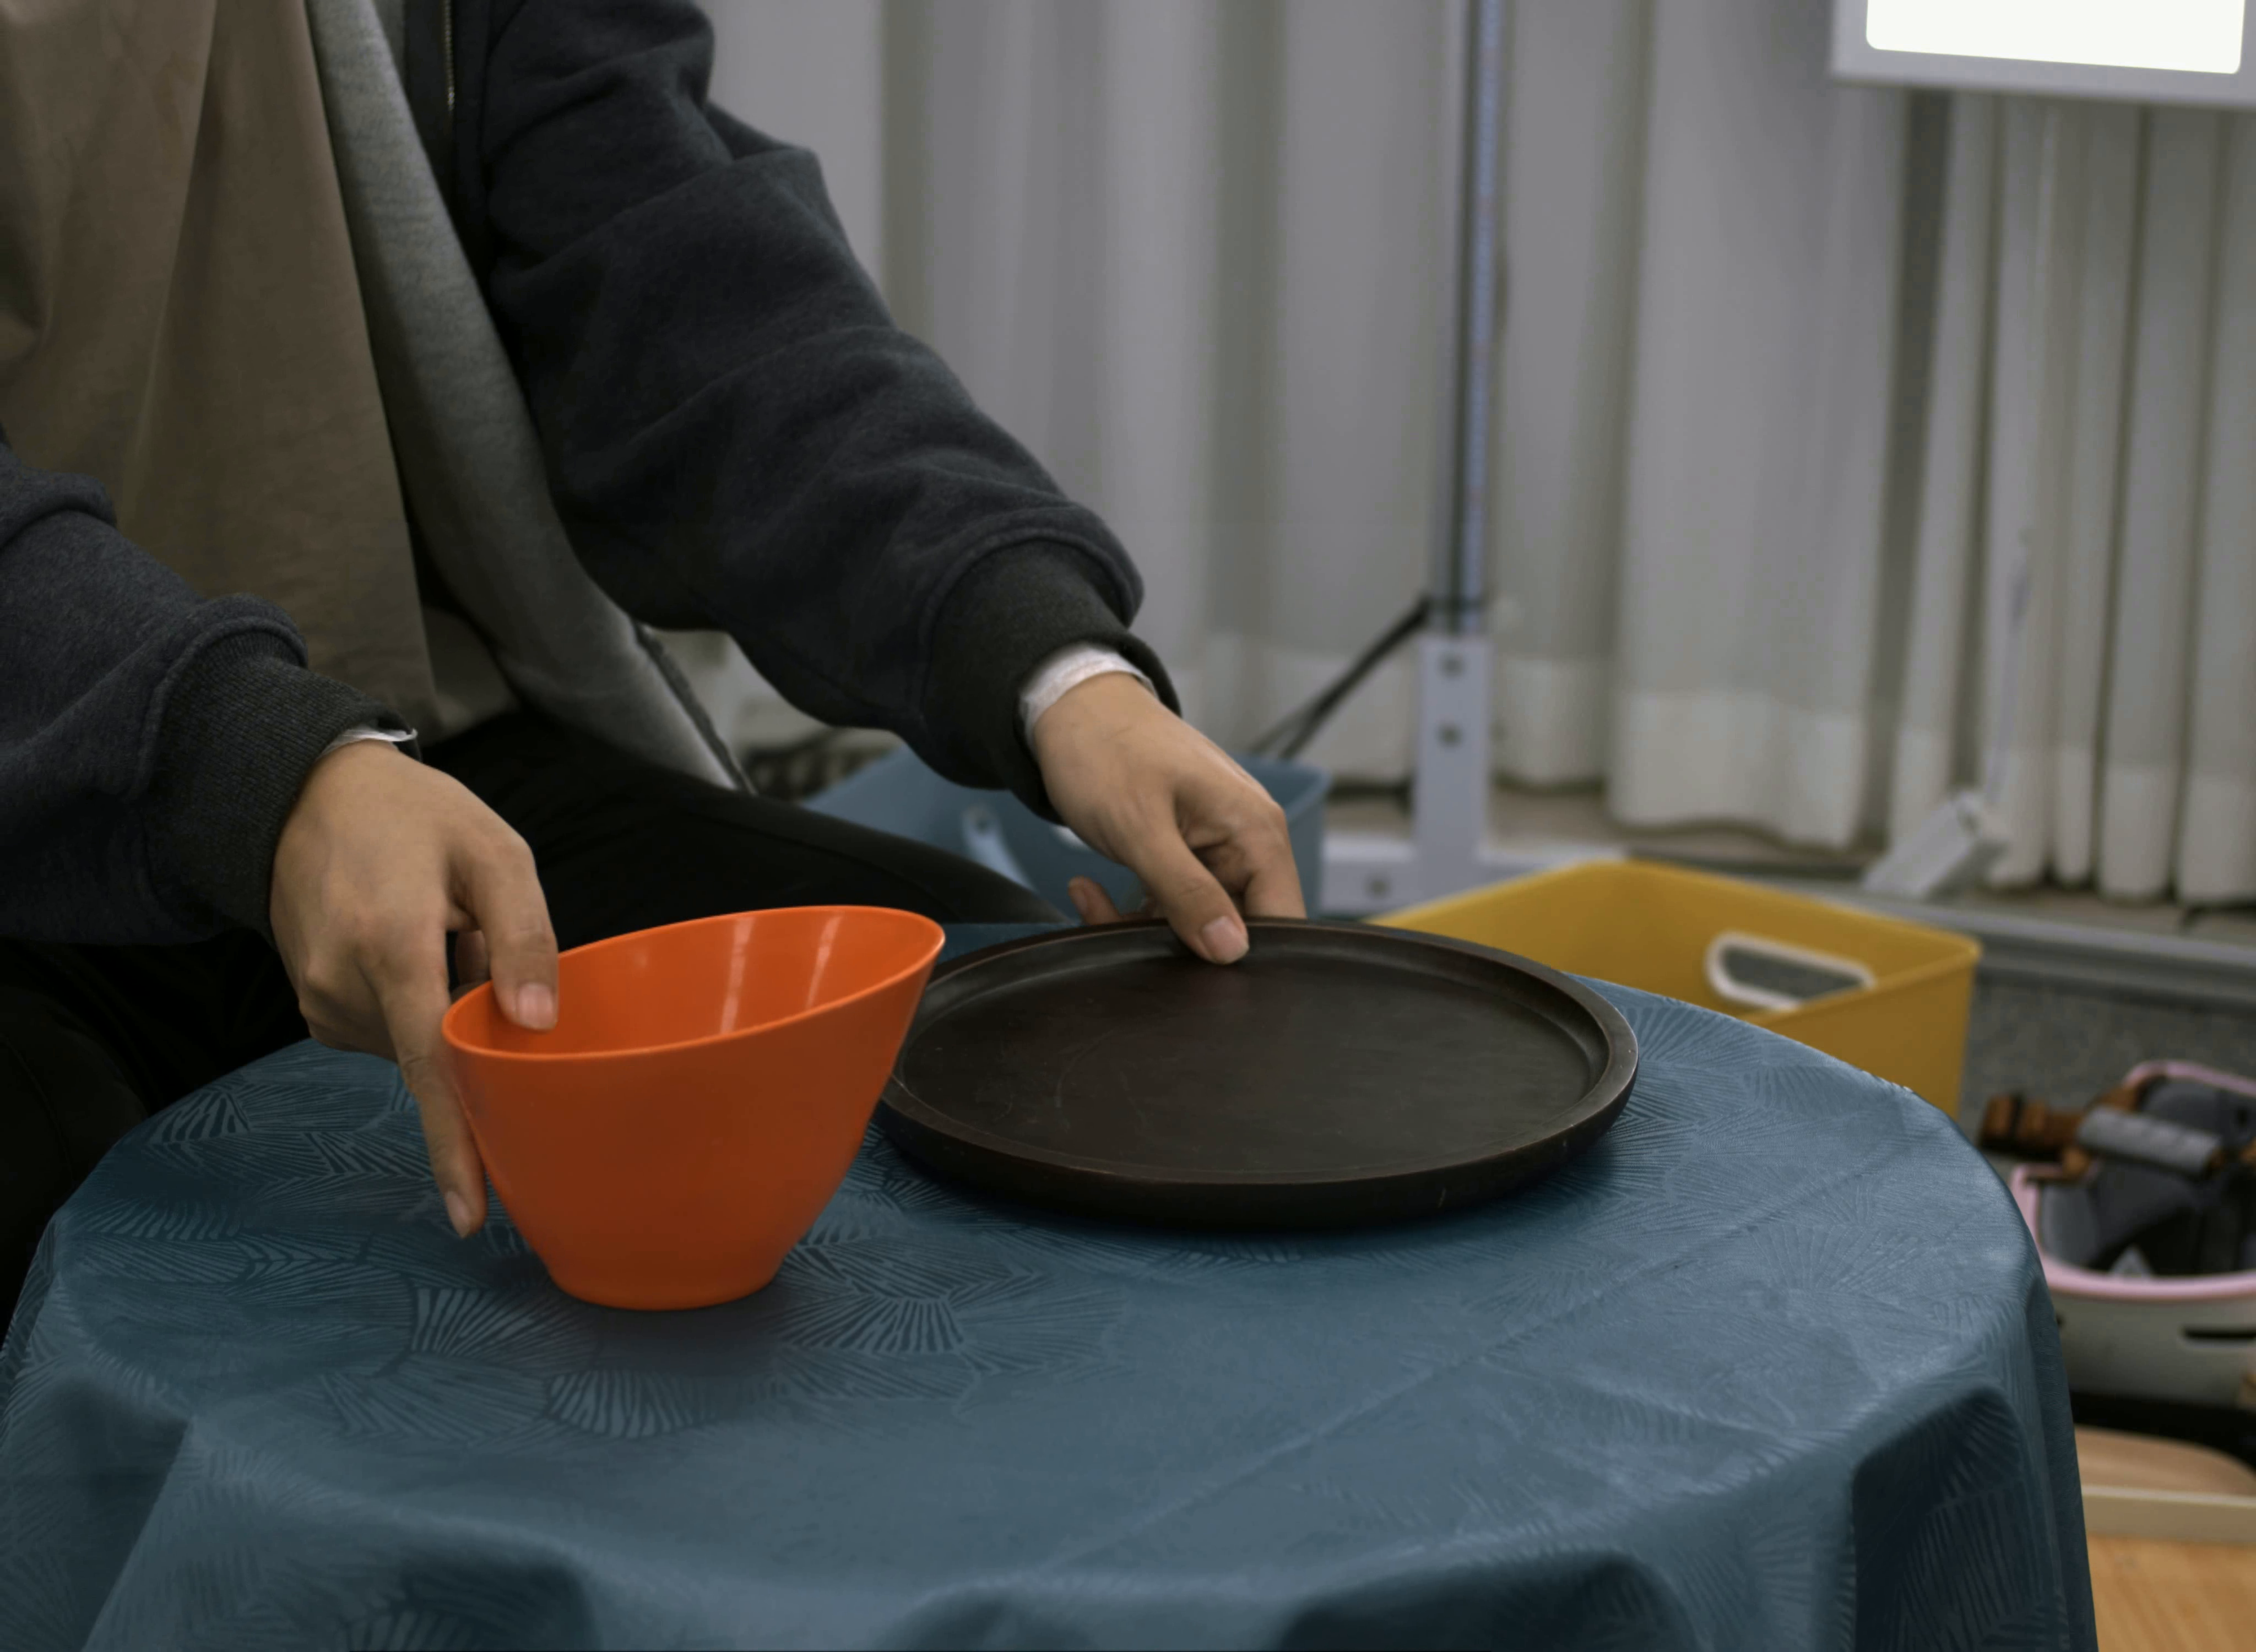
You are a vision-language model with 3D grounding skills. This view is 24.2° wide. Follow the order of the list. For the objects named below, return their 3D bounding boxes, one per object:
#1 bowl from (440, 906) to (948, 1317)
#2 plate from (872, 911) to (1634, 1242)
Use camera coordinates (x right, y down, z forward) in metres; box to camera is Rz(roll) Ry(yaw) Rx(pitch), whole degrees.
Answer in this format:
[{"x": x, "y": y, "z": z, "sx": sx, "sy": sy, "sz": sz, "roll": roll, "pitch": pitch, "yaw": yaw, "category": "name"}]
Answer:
[{"x": -0.126, "y": 0.084, "z": 1.531, "sx": 0.147, "sy": 0.105, "sz": 0.147, "roll": 0, "pitch": 17, "yaw": 0, "category": "bowl"}, {"x": 0.036, "y": 0.079, "z": 1.691, "sx": 0.254, "sy": 0.029, "sz": 0.253, "roll": 0, "pitch": 18, "yaw": 1, "category": "plate"}]
